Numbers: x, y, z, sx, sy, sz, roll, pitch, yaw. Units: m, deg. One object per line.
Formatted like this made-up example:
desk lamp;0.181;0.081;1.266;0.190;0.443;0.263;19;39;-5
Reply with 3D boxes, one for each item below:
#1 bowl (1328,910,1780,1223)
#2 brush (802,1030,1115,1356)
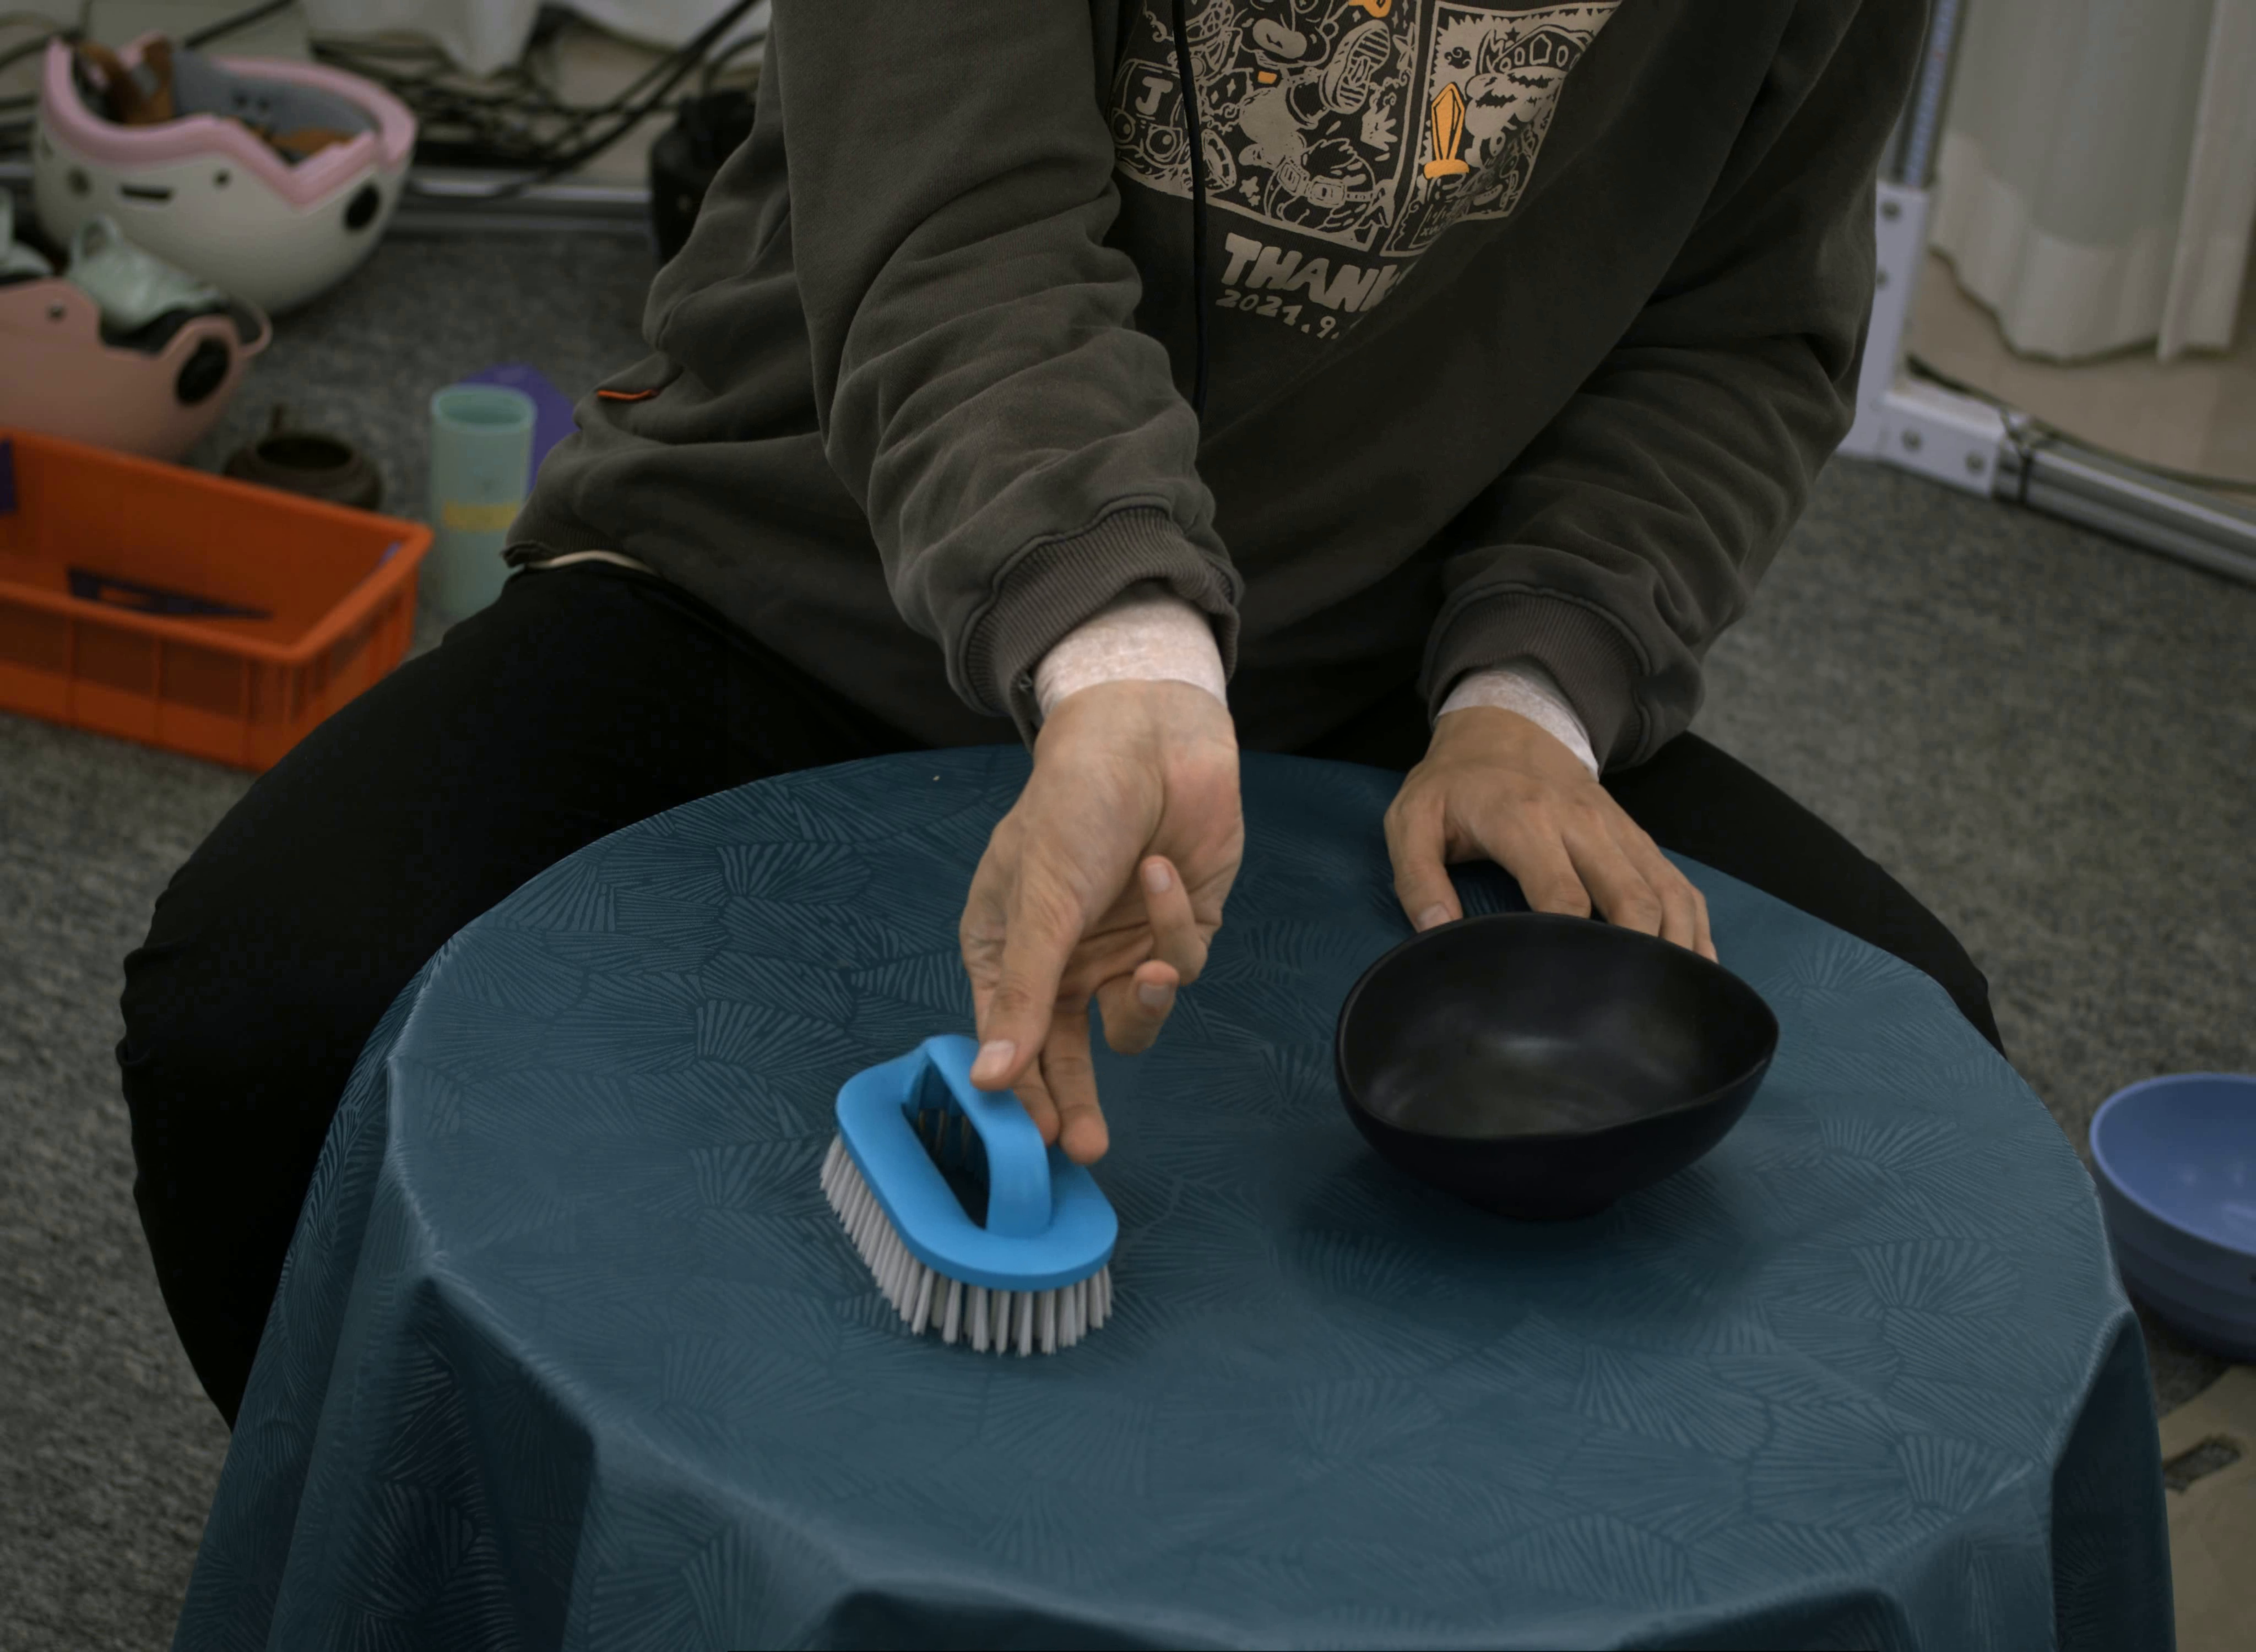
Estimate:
bowl;0.144;0.093;1.828;0.169;0.066;0.138;-19;36;-39
brush;-0.053;0.110;1.745;0.084;0.063;0.143;1;28;-21
